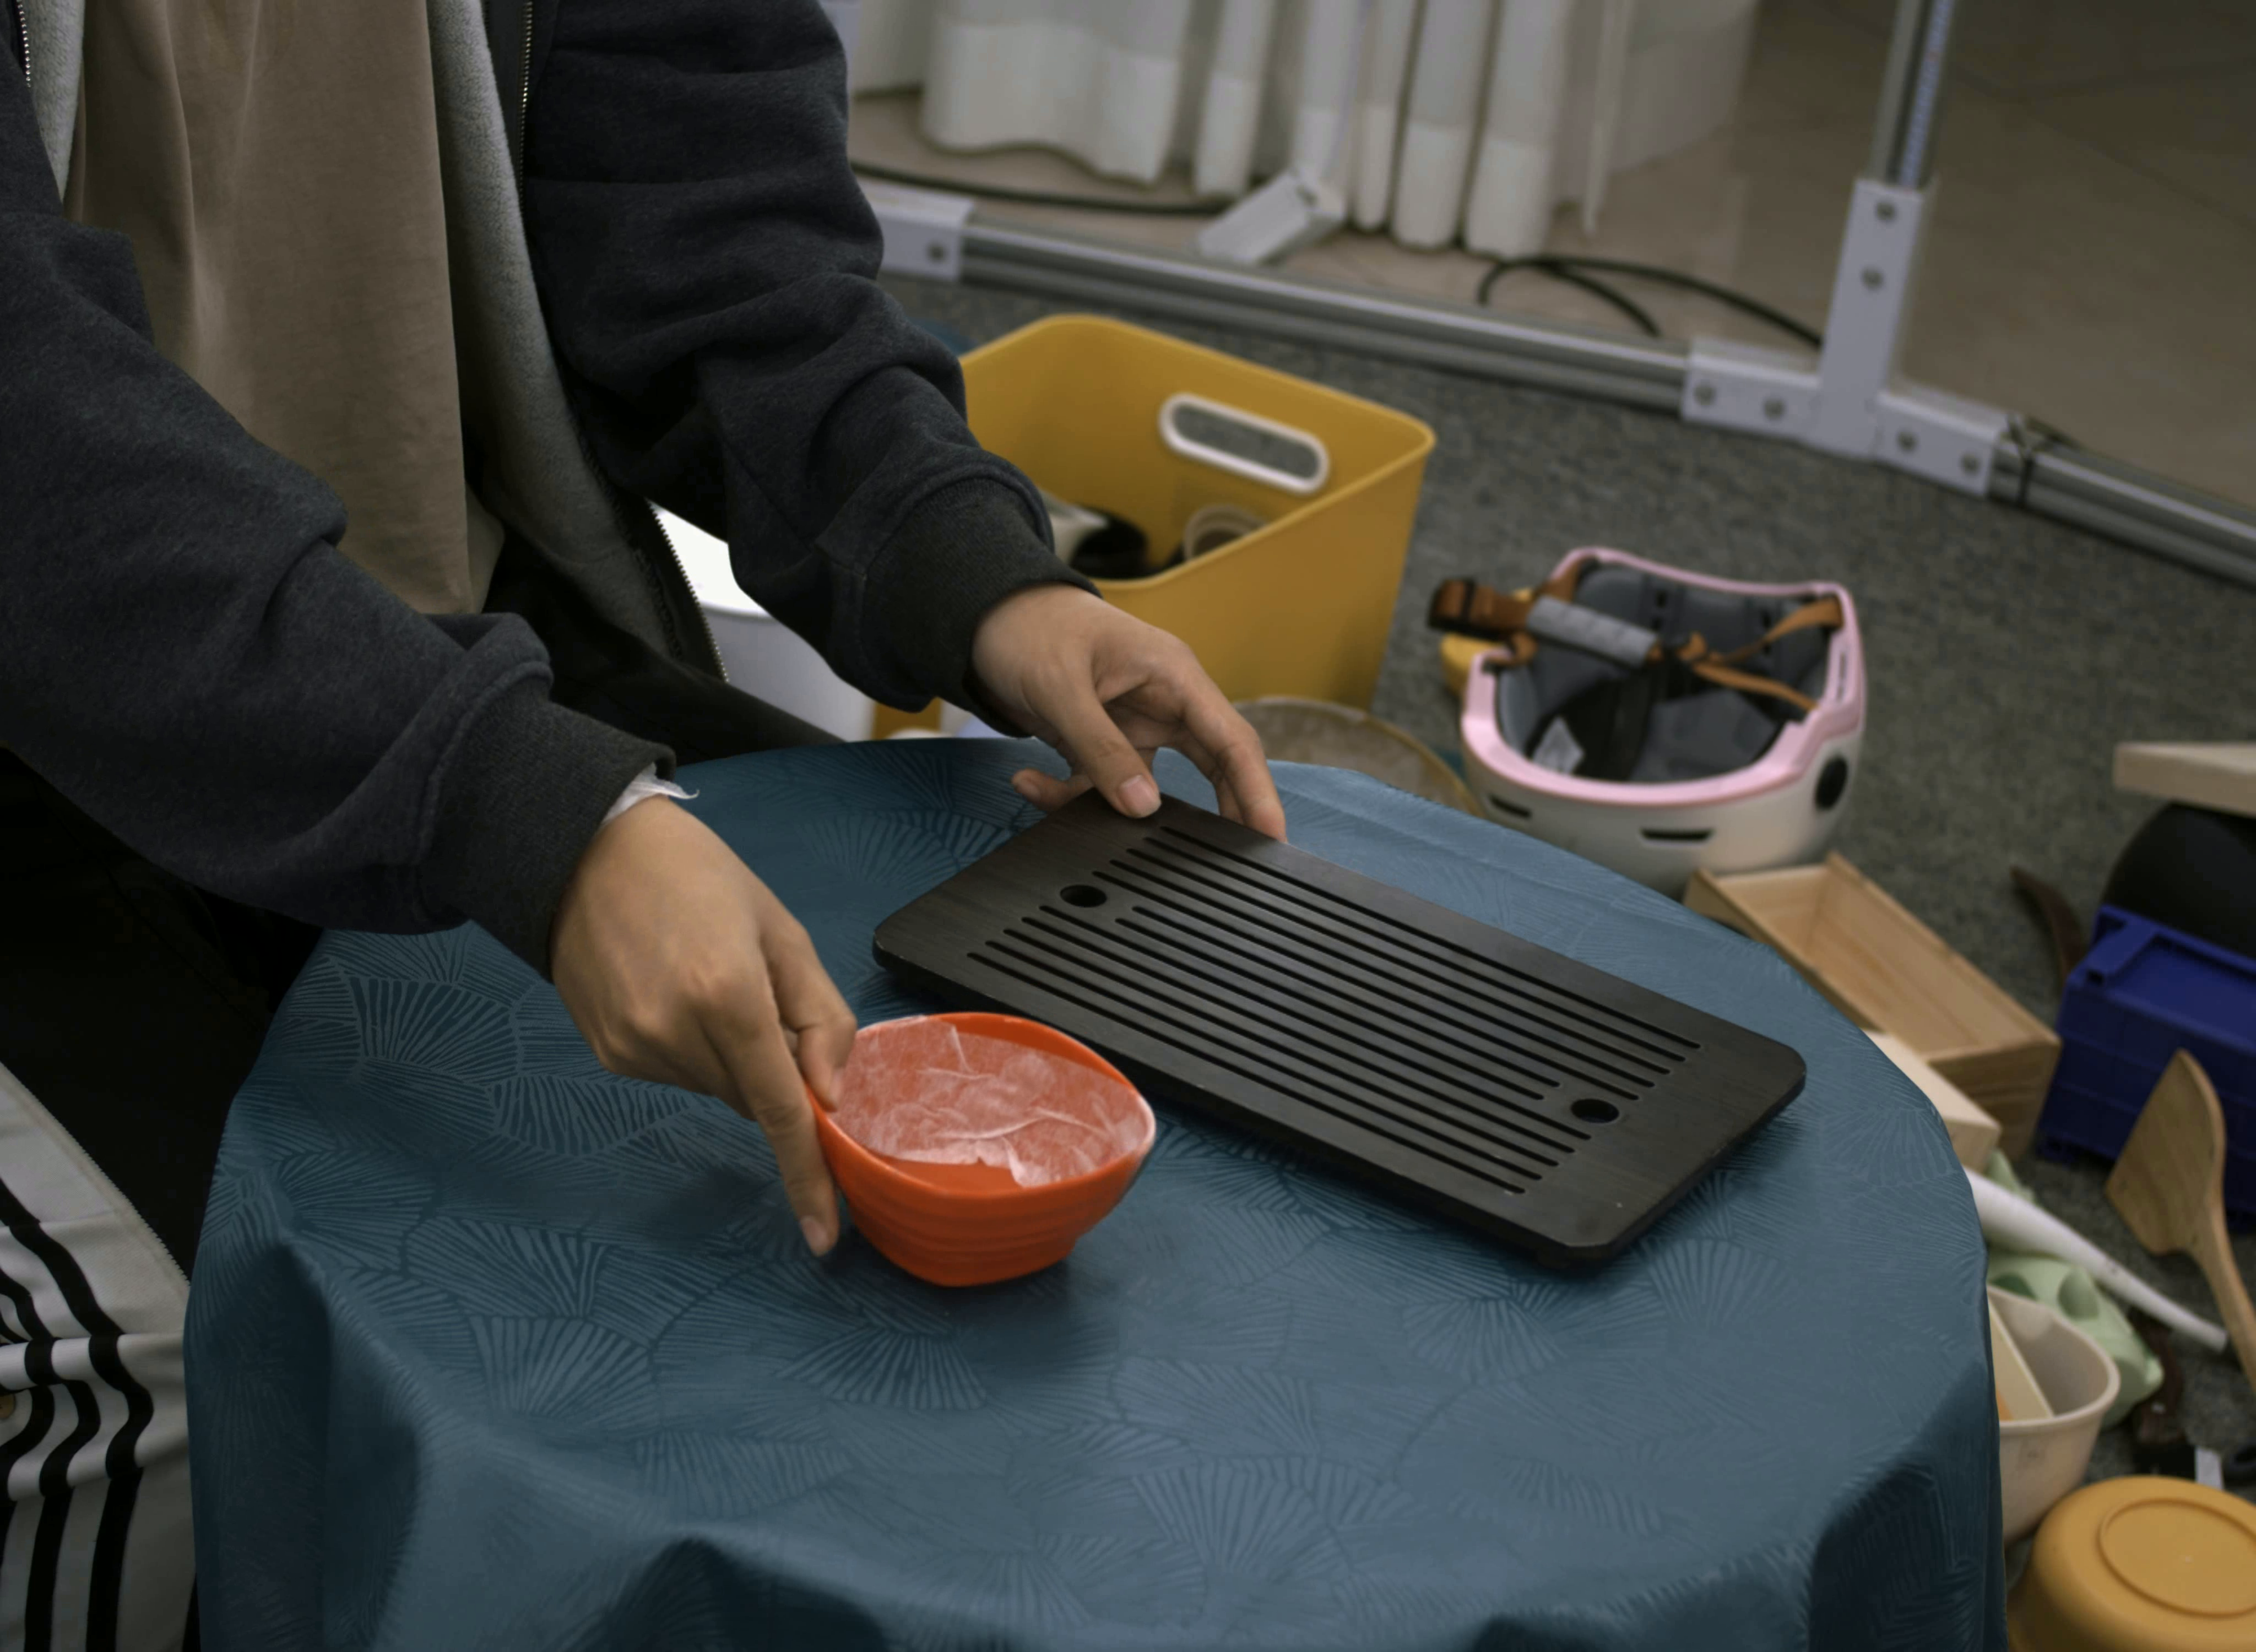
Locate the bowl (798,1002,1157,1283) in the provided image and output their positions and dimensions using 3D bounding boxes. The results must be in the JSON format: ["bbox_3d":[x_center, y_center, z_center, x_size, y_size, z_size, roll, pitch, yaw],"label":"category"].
[{"bbox_3d":[-0.052,0.108,1.748,0.118,0.051,0.119,5,29,-3],"label":"bowl"}]

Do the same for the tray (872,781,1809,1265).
[{"bbox_3d":[0.074,0.067,1.901,0.307,0.018,0.170,22,32,27],"label":"tray"}]
